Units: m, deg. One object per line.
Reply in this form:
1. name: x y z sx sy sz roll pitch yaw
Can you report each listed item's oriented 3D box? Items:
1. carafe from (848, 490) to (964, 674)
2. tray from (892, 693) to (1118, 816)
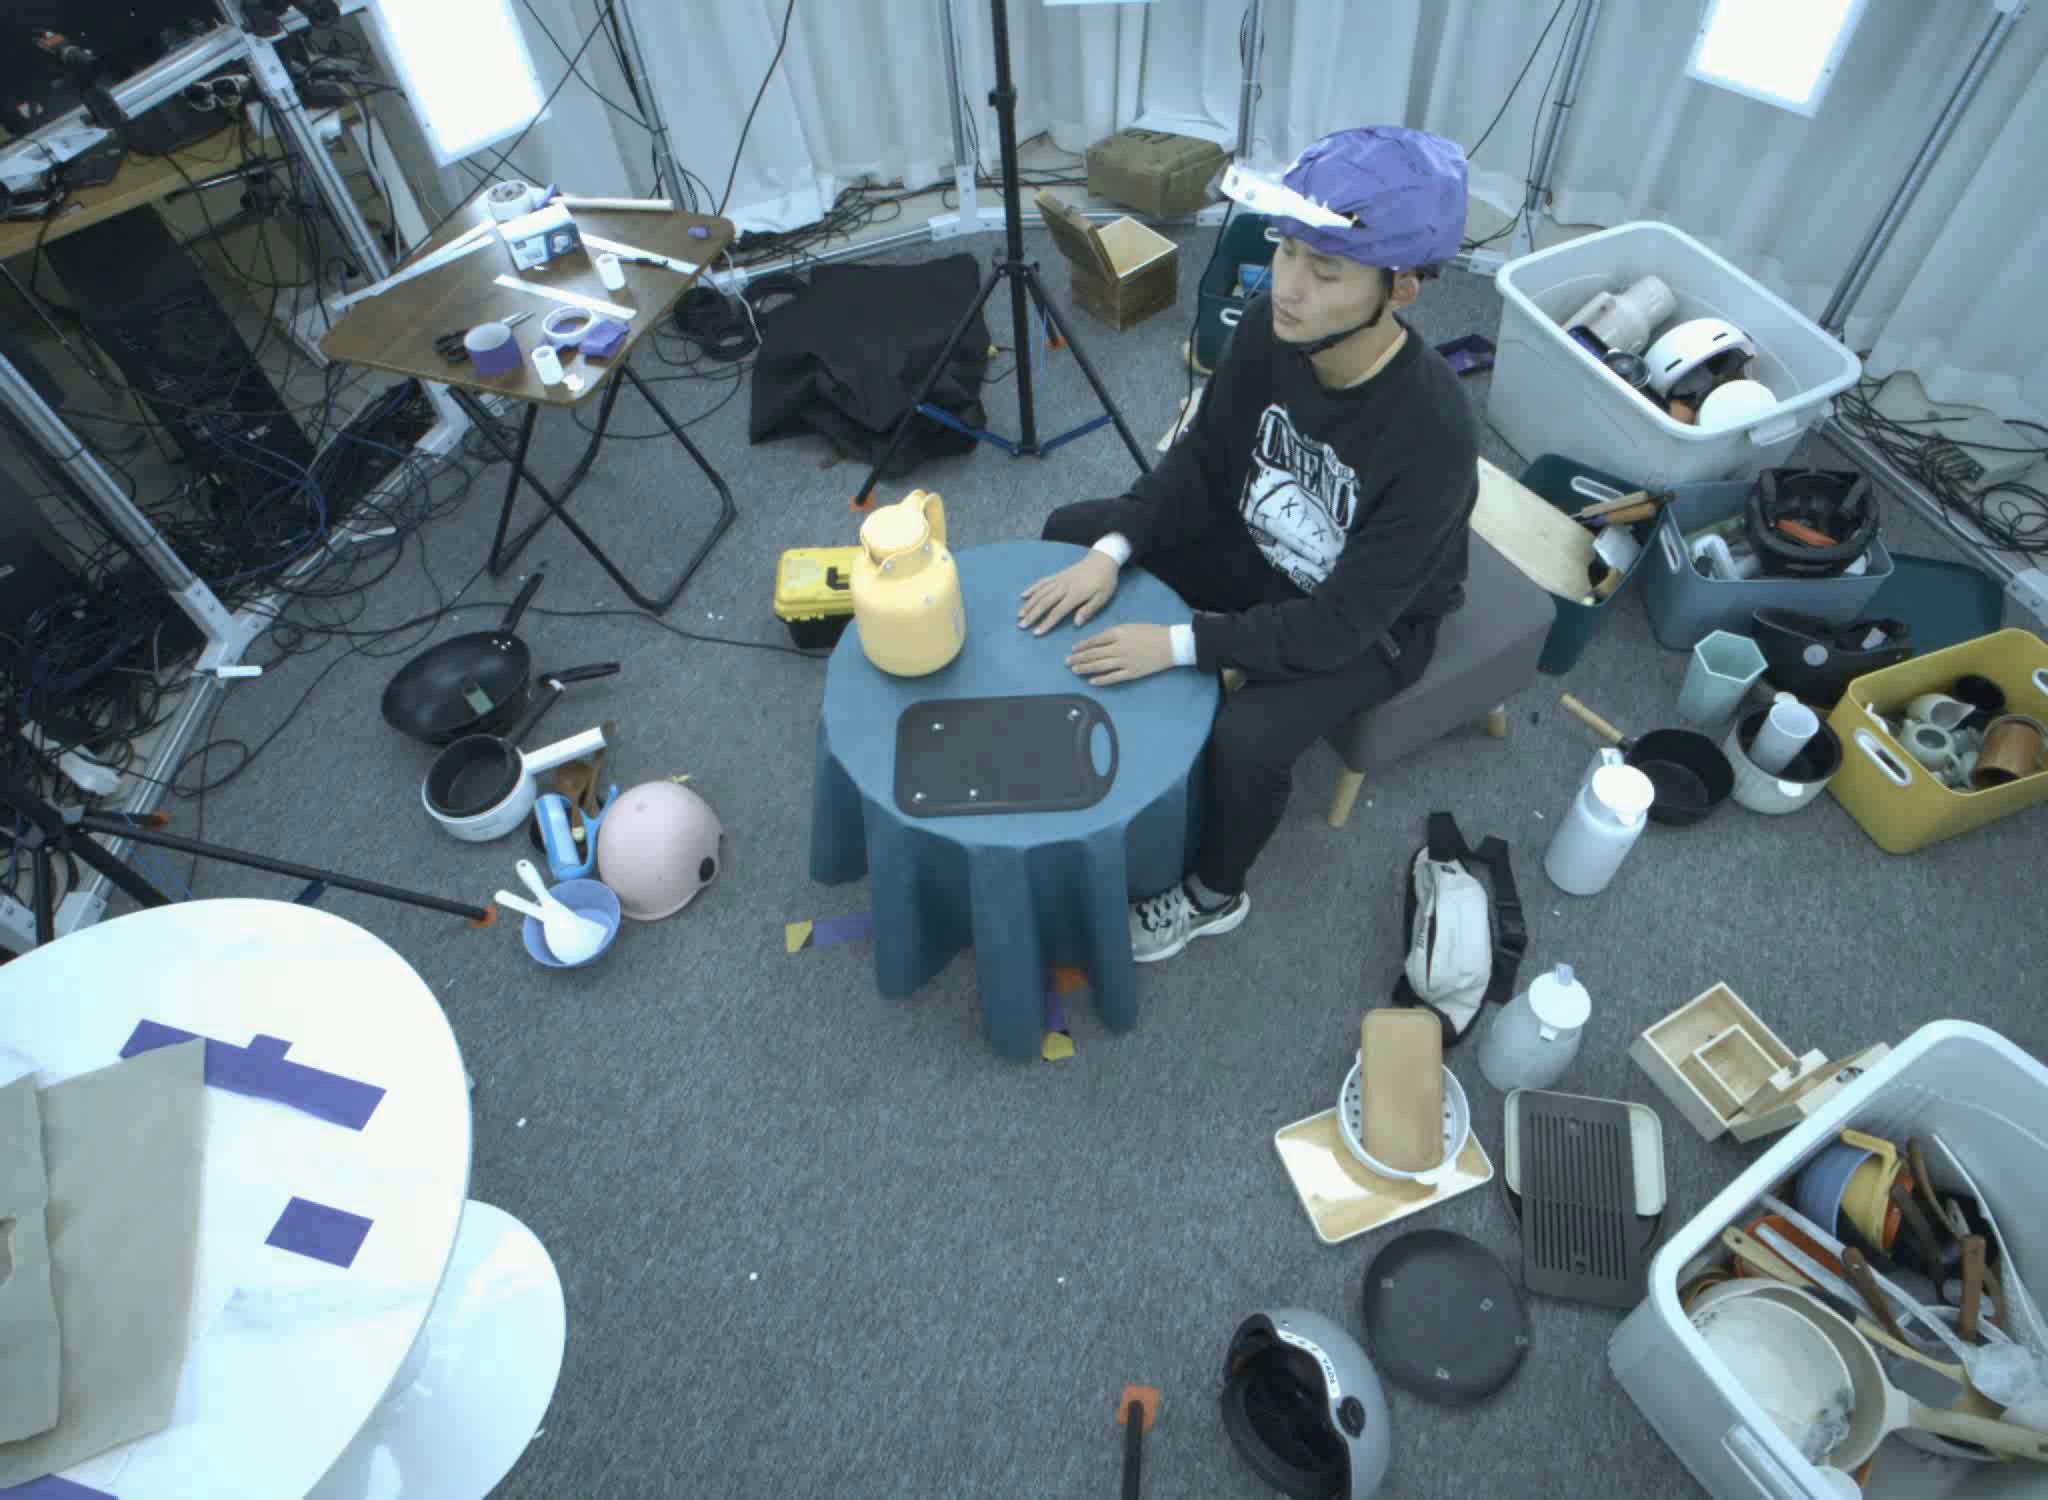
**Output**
1. carafe: -0.169 -0.255 1.809 0.162 0.263 0.202 20 59 14
2. tray: -0.027 0.002 1.778 0.325 0.010 0.209 -2 55 0
